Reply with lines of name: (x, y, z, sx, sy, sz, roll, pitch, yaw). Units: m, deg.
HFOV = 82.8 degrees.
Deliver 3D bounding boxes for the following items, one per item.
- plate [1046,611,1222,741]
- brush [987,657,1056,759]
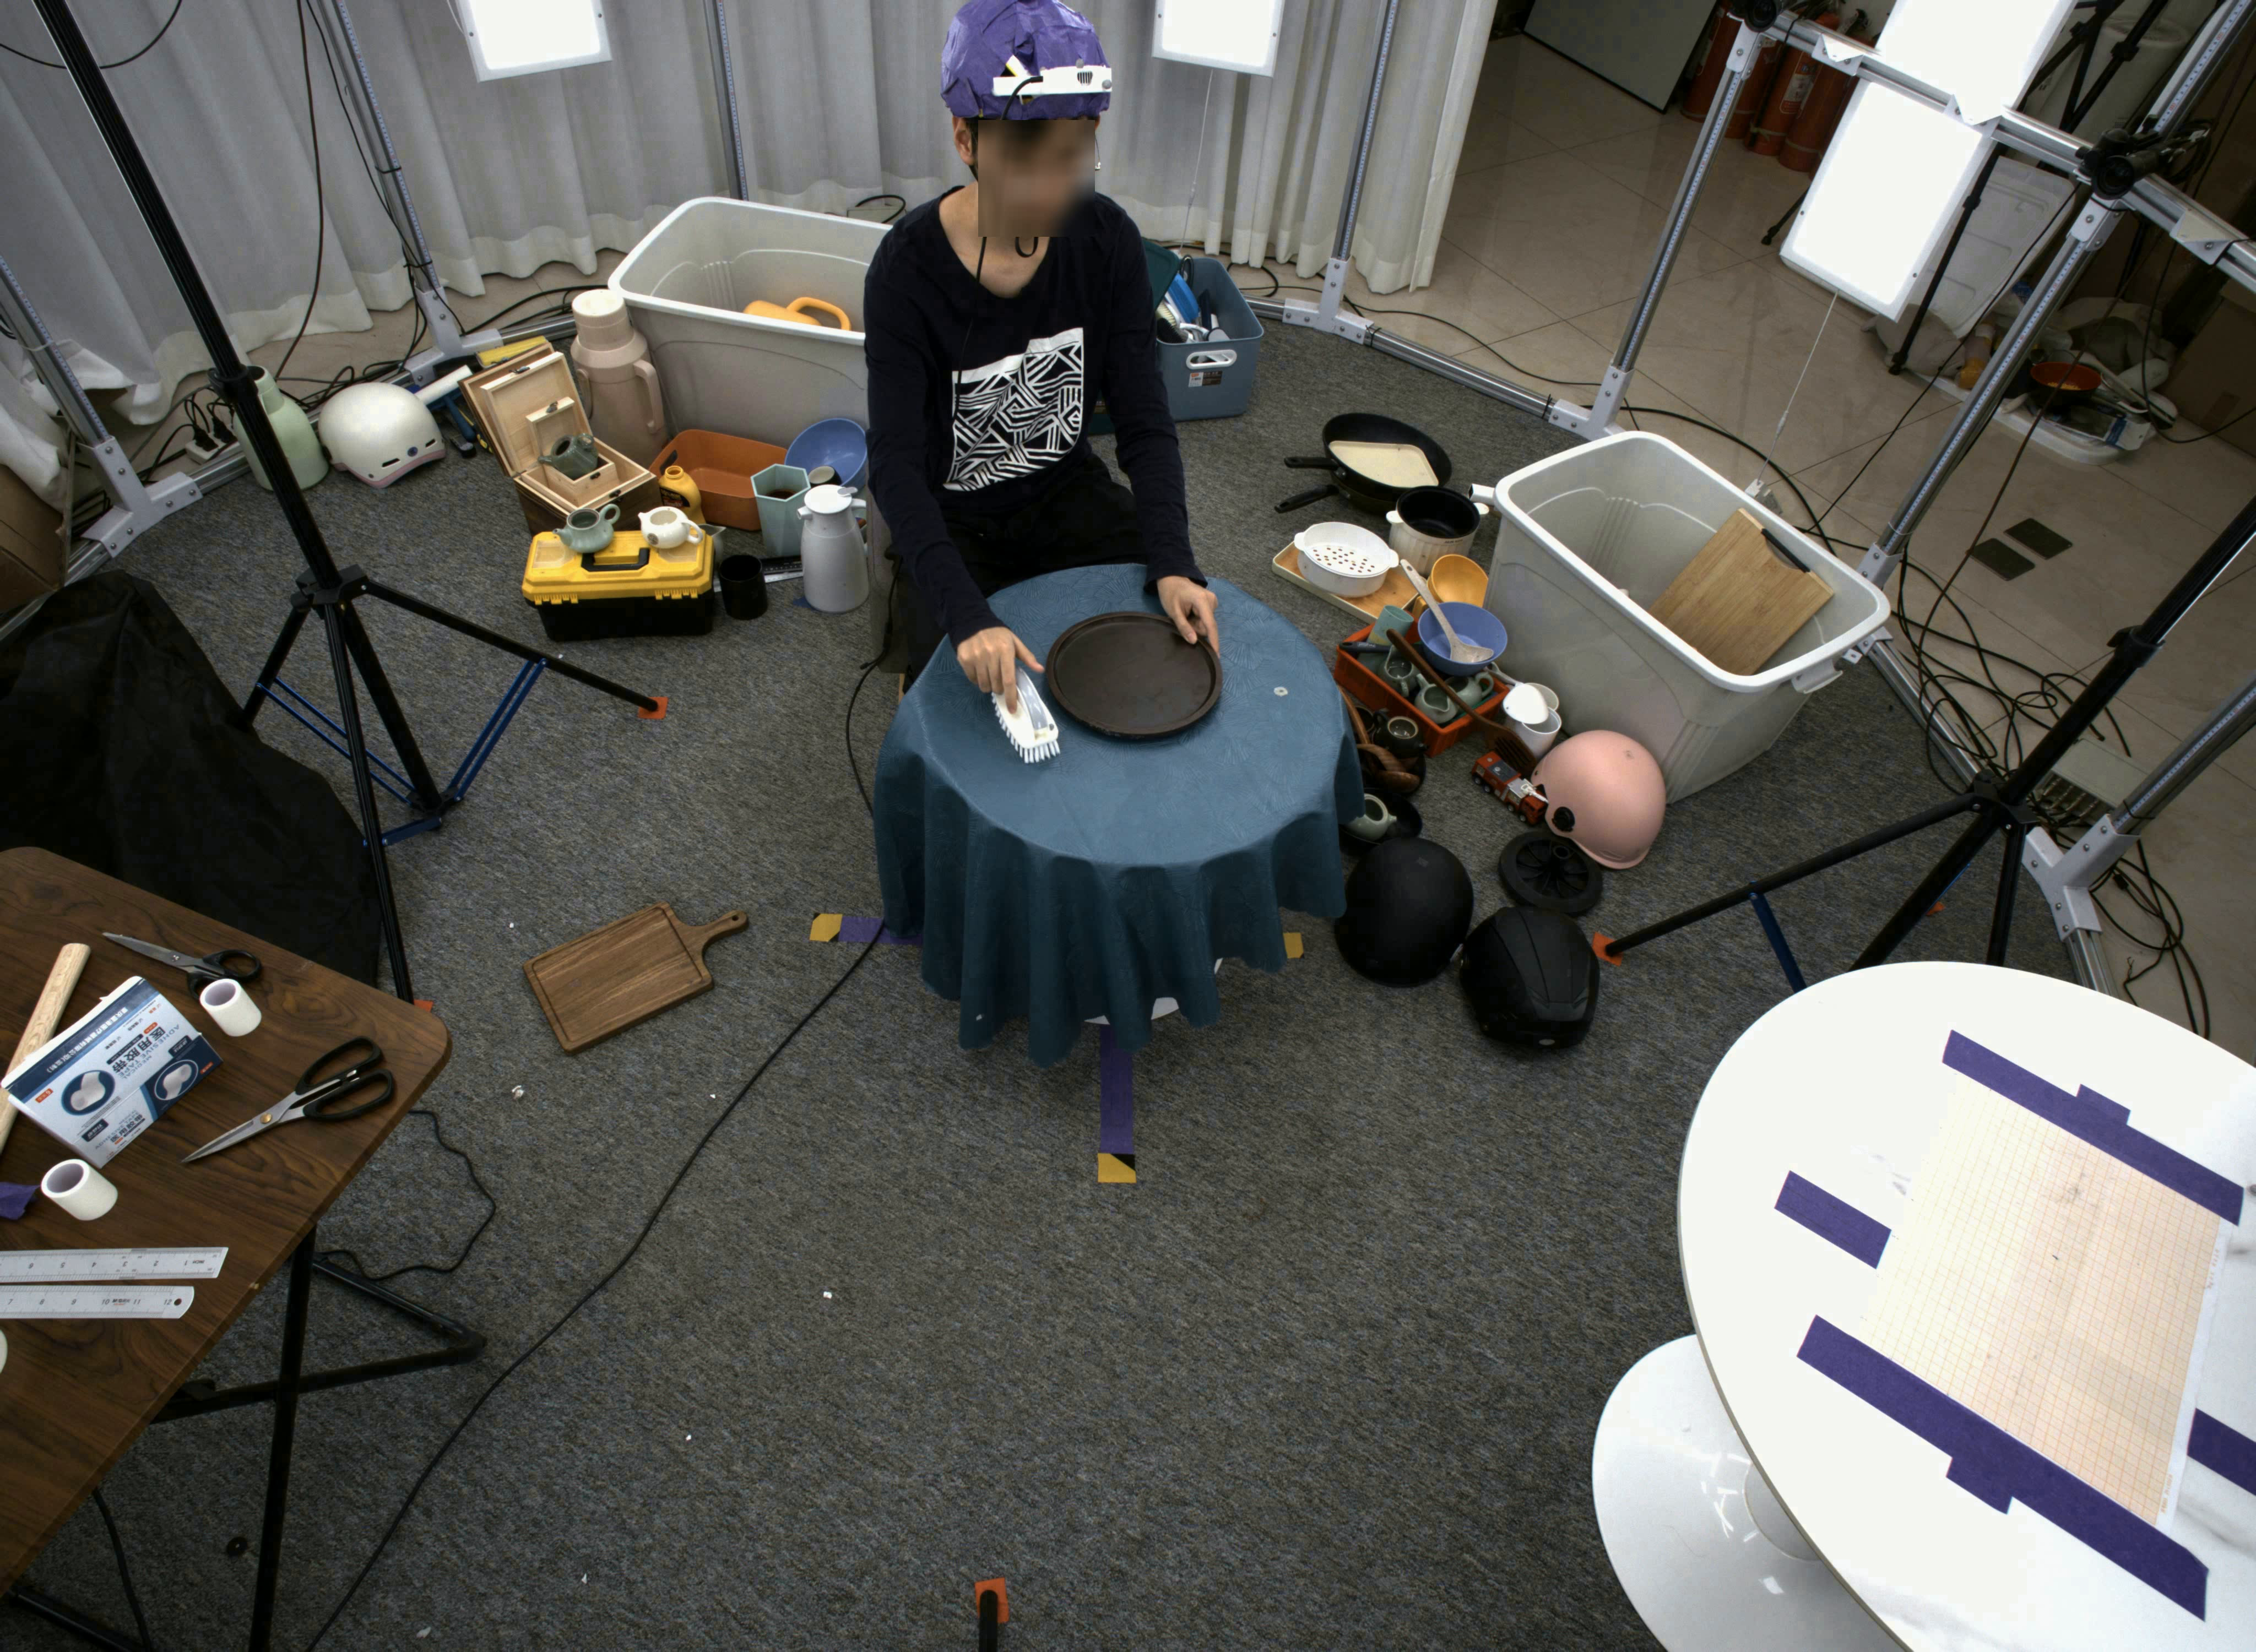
plate: (0.008, -0.216, 1.841, 0.254, 0.028, 0.261, 2, 50, -3)
brush: (-0.154, -0.179, 1.753, 0.061, 0.092, 0.179, -17, 49, -22)
